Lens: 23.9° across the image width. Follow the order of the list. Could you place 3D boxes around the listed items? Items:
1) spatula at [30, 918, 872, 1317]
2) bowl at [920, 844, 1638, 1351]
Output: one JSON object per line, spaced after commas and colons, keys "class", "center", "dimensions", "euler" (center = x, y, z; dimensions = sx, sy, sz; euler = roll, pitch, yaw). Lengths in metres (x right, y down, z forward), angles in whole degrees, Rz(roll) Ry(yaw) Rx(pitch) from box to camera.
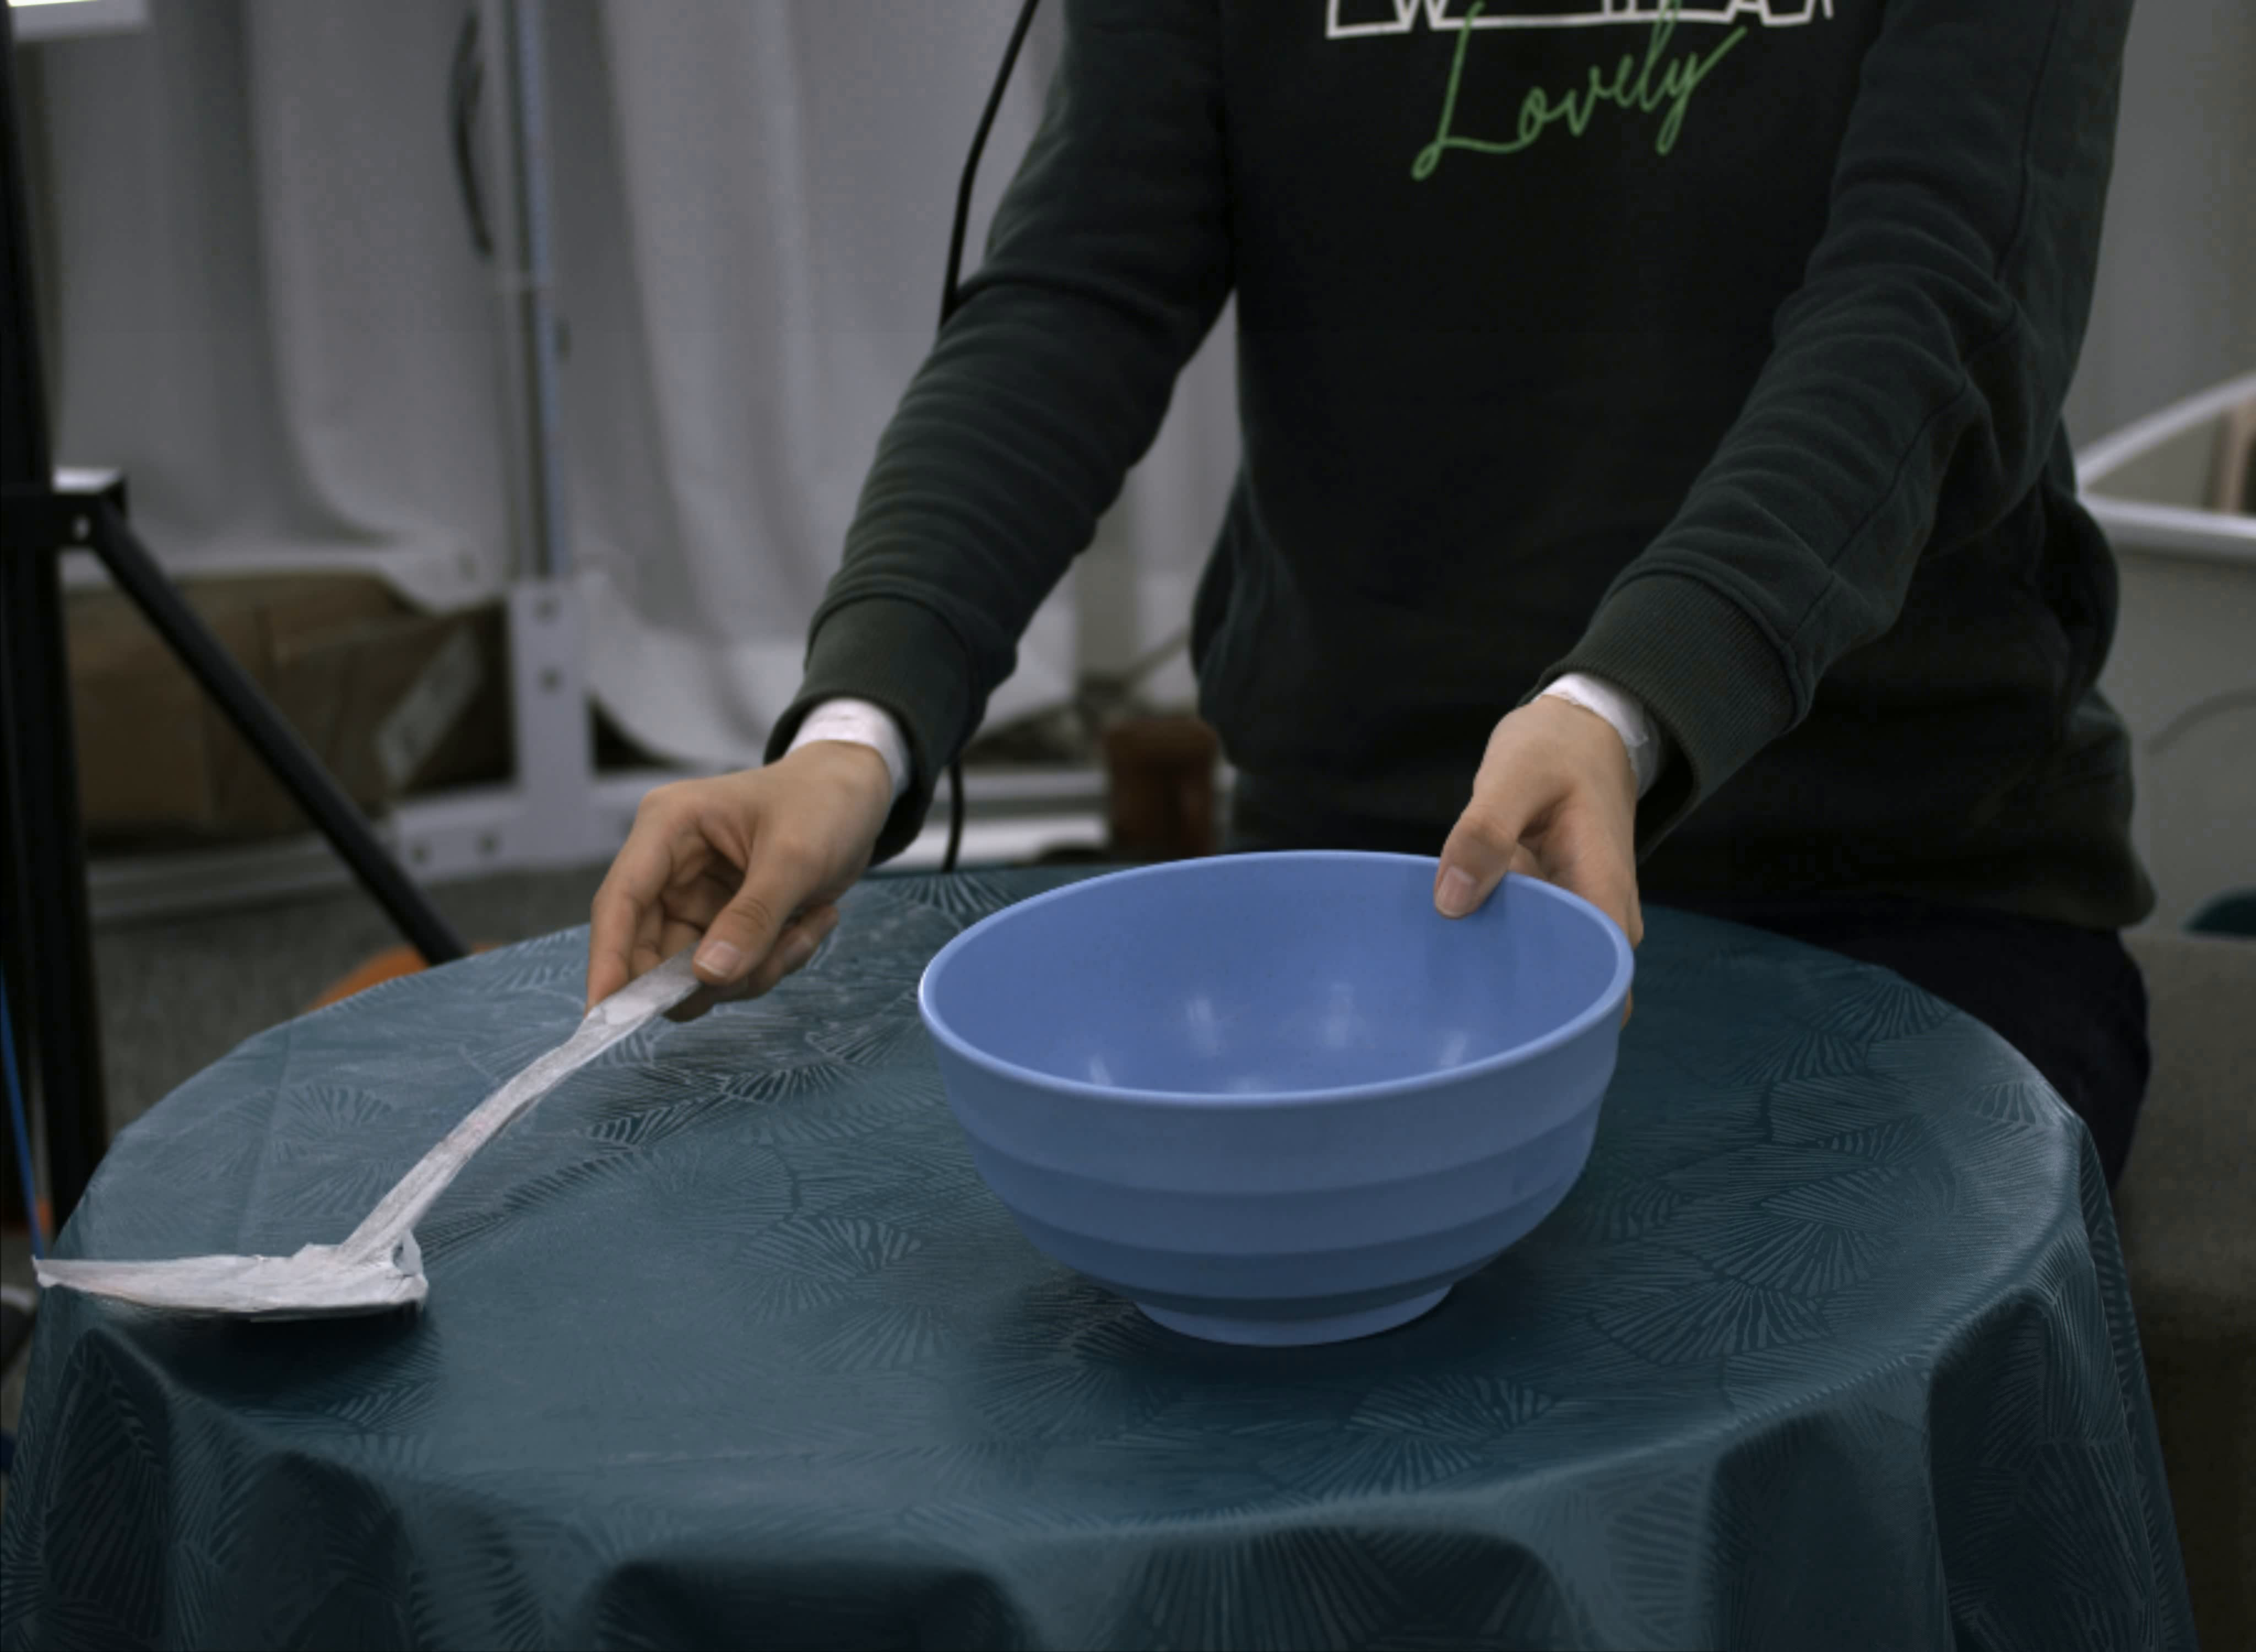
{"class": "spatula", "center": [-0.179, 0.078, 1.580], "dimensions": [0.100, 0.044, 0.360], "euler": [2, 23, 30]}
{"class": "bowl", "center": [0.044, 0.082, 1.460], "dimensions": [0.195, 0.095, 0.198], "euler": [-5, 19, 0]}
